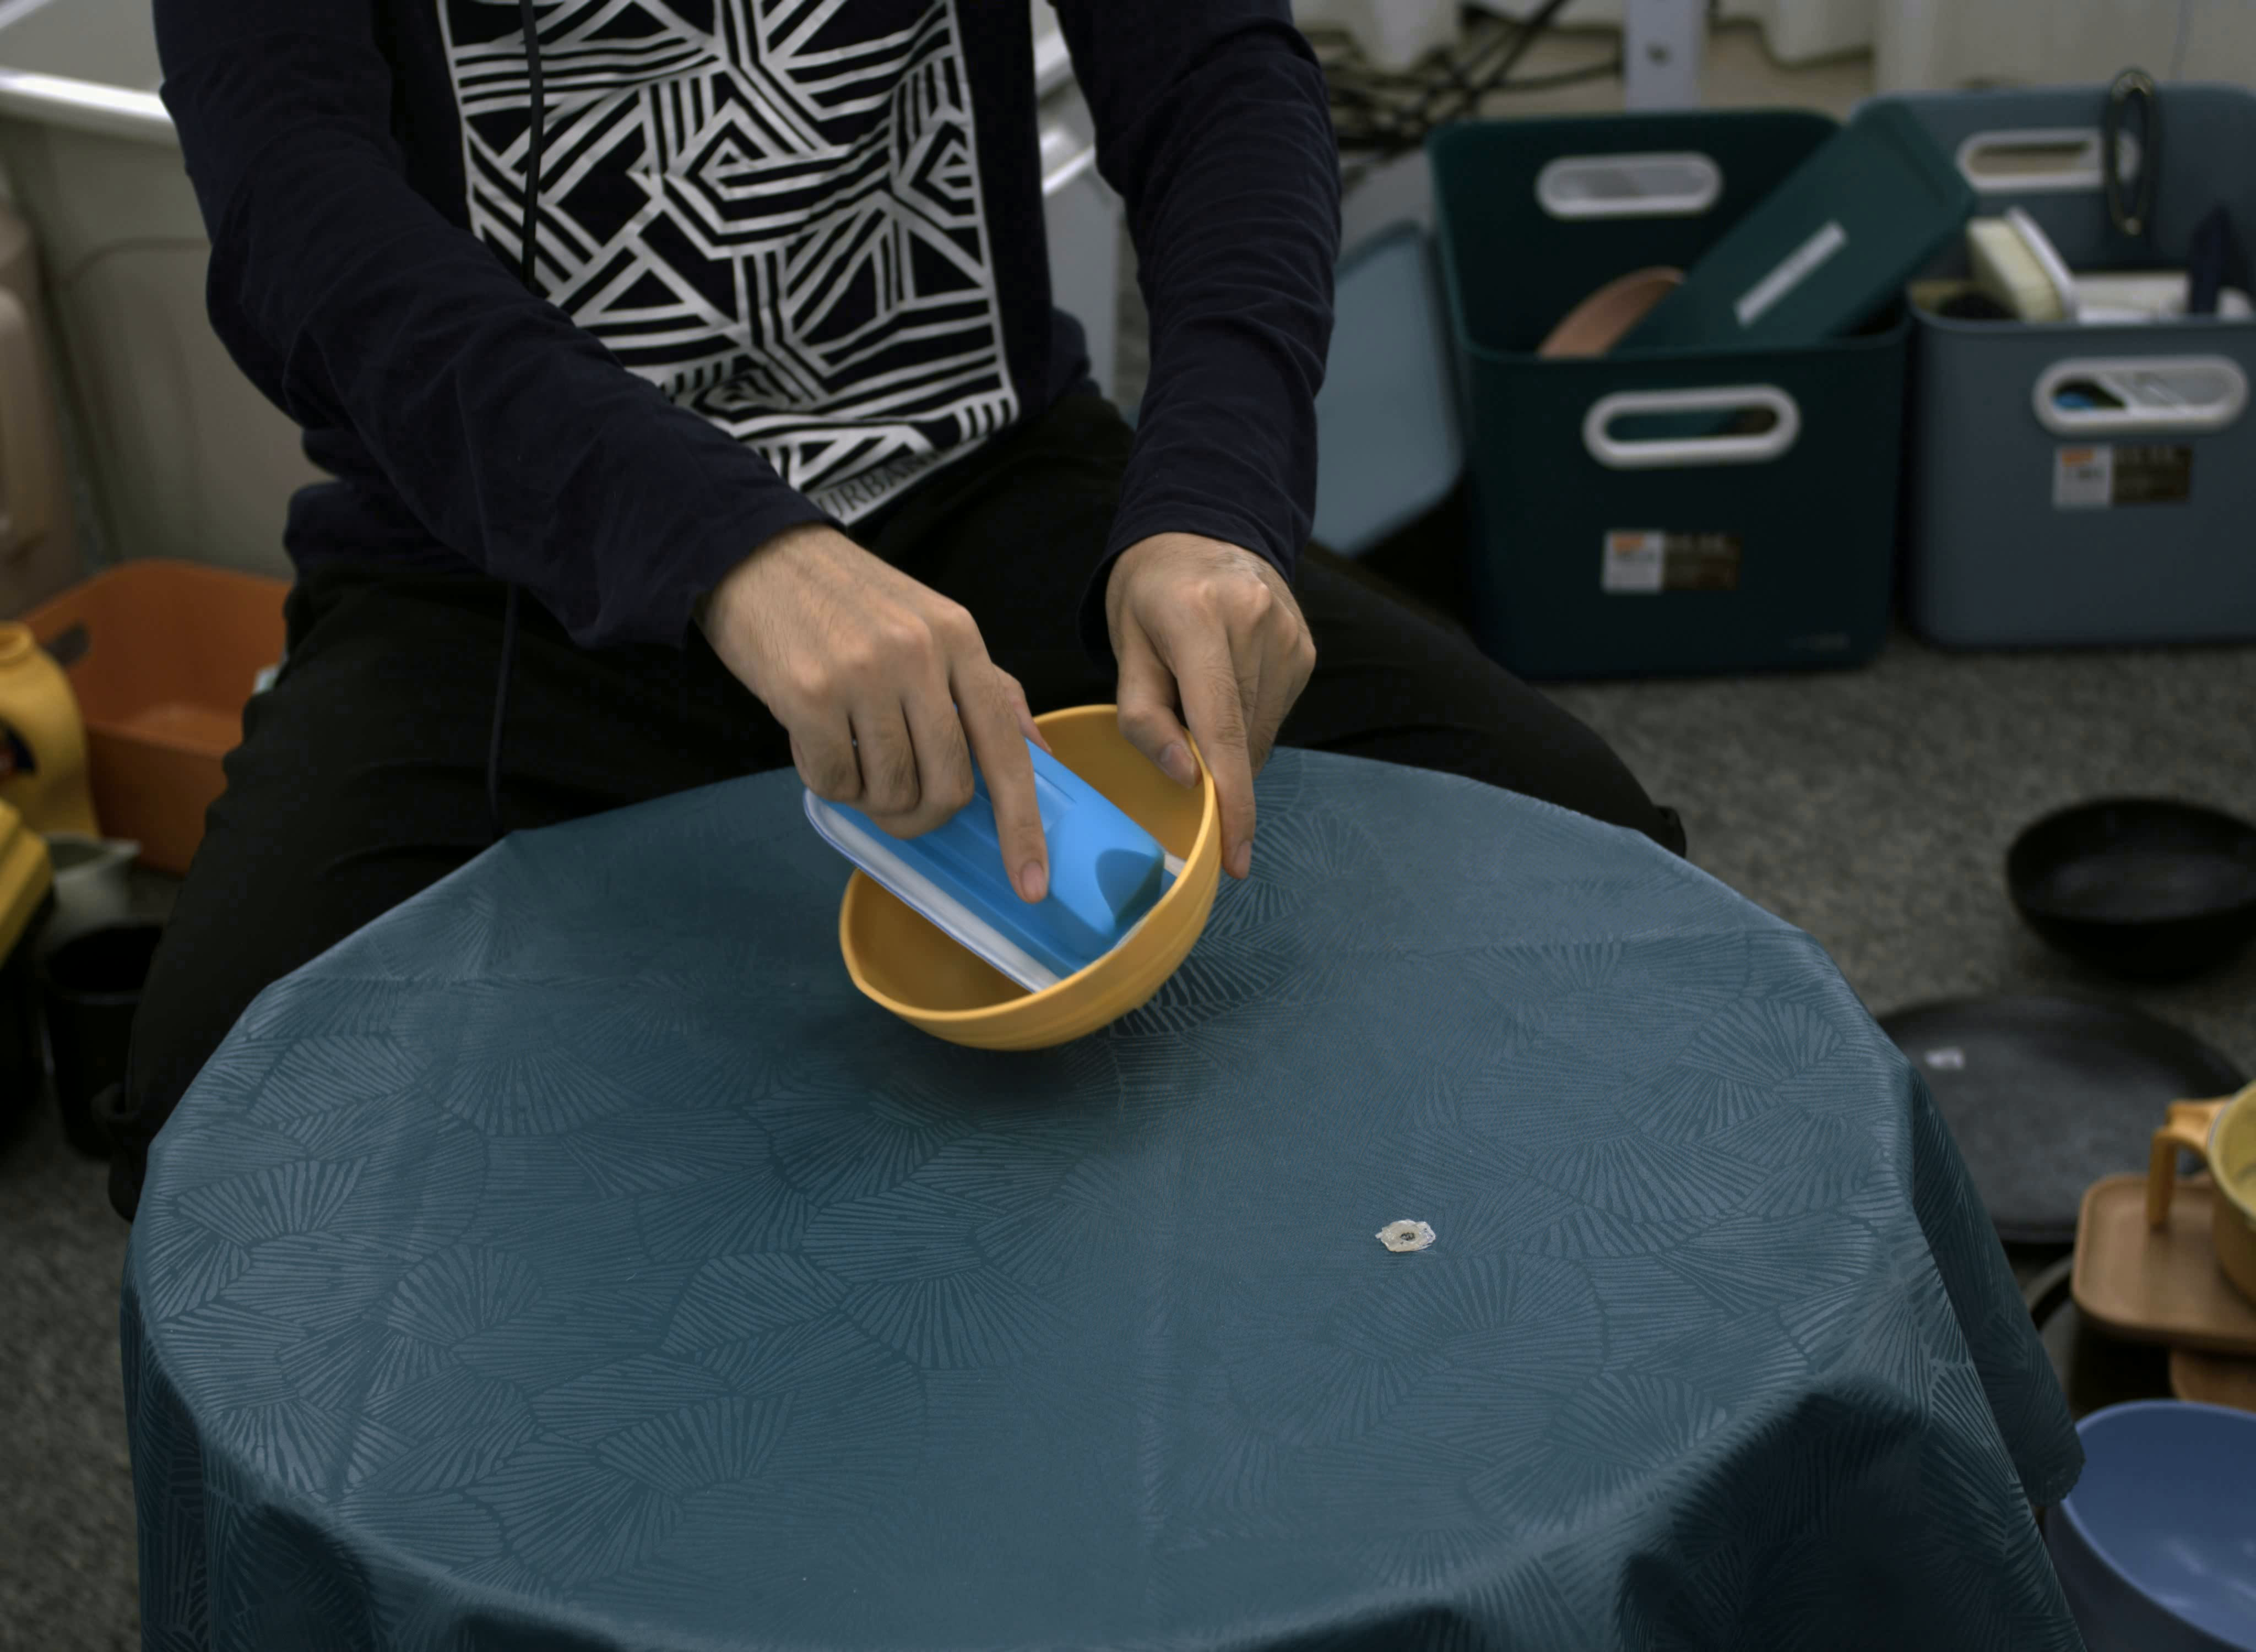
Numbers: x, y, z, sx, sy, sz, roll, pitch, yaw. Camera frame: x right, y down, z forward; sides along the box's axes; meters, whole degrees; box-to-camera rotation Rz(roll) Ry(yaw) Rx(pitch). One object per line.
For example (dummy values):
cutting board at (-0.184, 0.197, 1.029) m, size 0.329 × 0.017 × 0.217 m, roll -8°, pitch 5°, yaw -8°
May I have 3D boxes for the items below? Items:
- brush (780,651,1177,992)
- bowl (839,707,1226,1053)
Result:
brush at (-0.046, -0.007, 1.929) m, size 0.144 × 0.055 × 0.085 m, roll 39°, pitch 53°, yaw 16°
bowl at (-0.024, 0.031, 1.949) m, size 0.144 × 0.059 × 0.148 m, roll -16°, pitch 40°, yaw 14°
